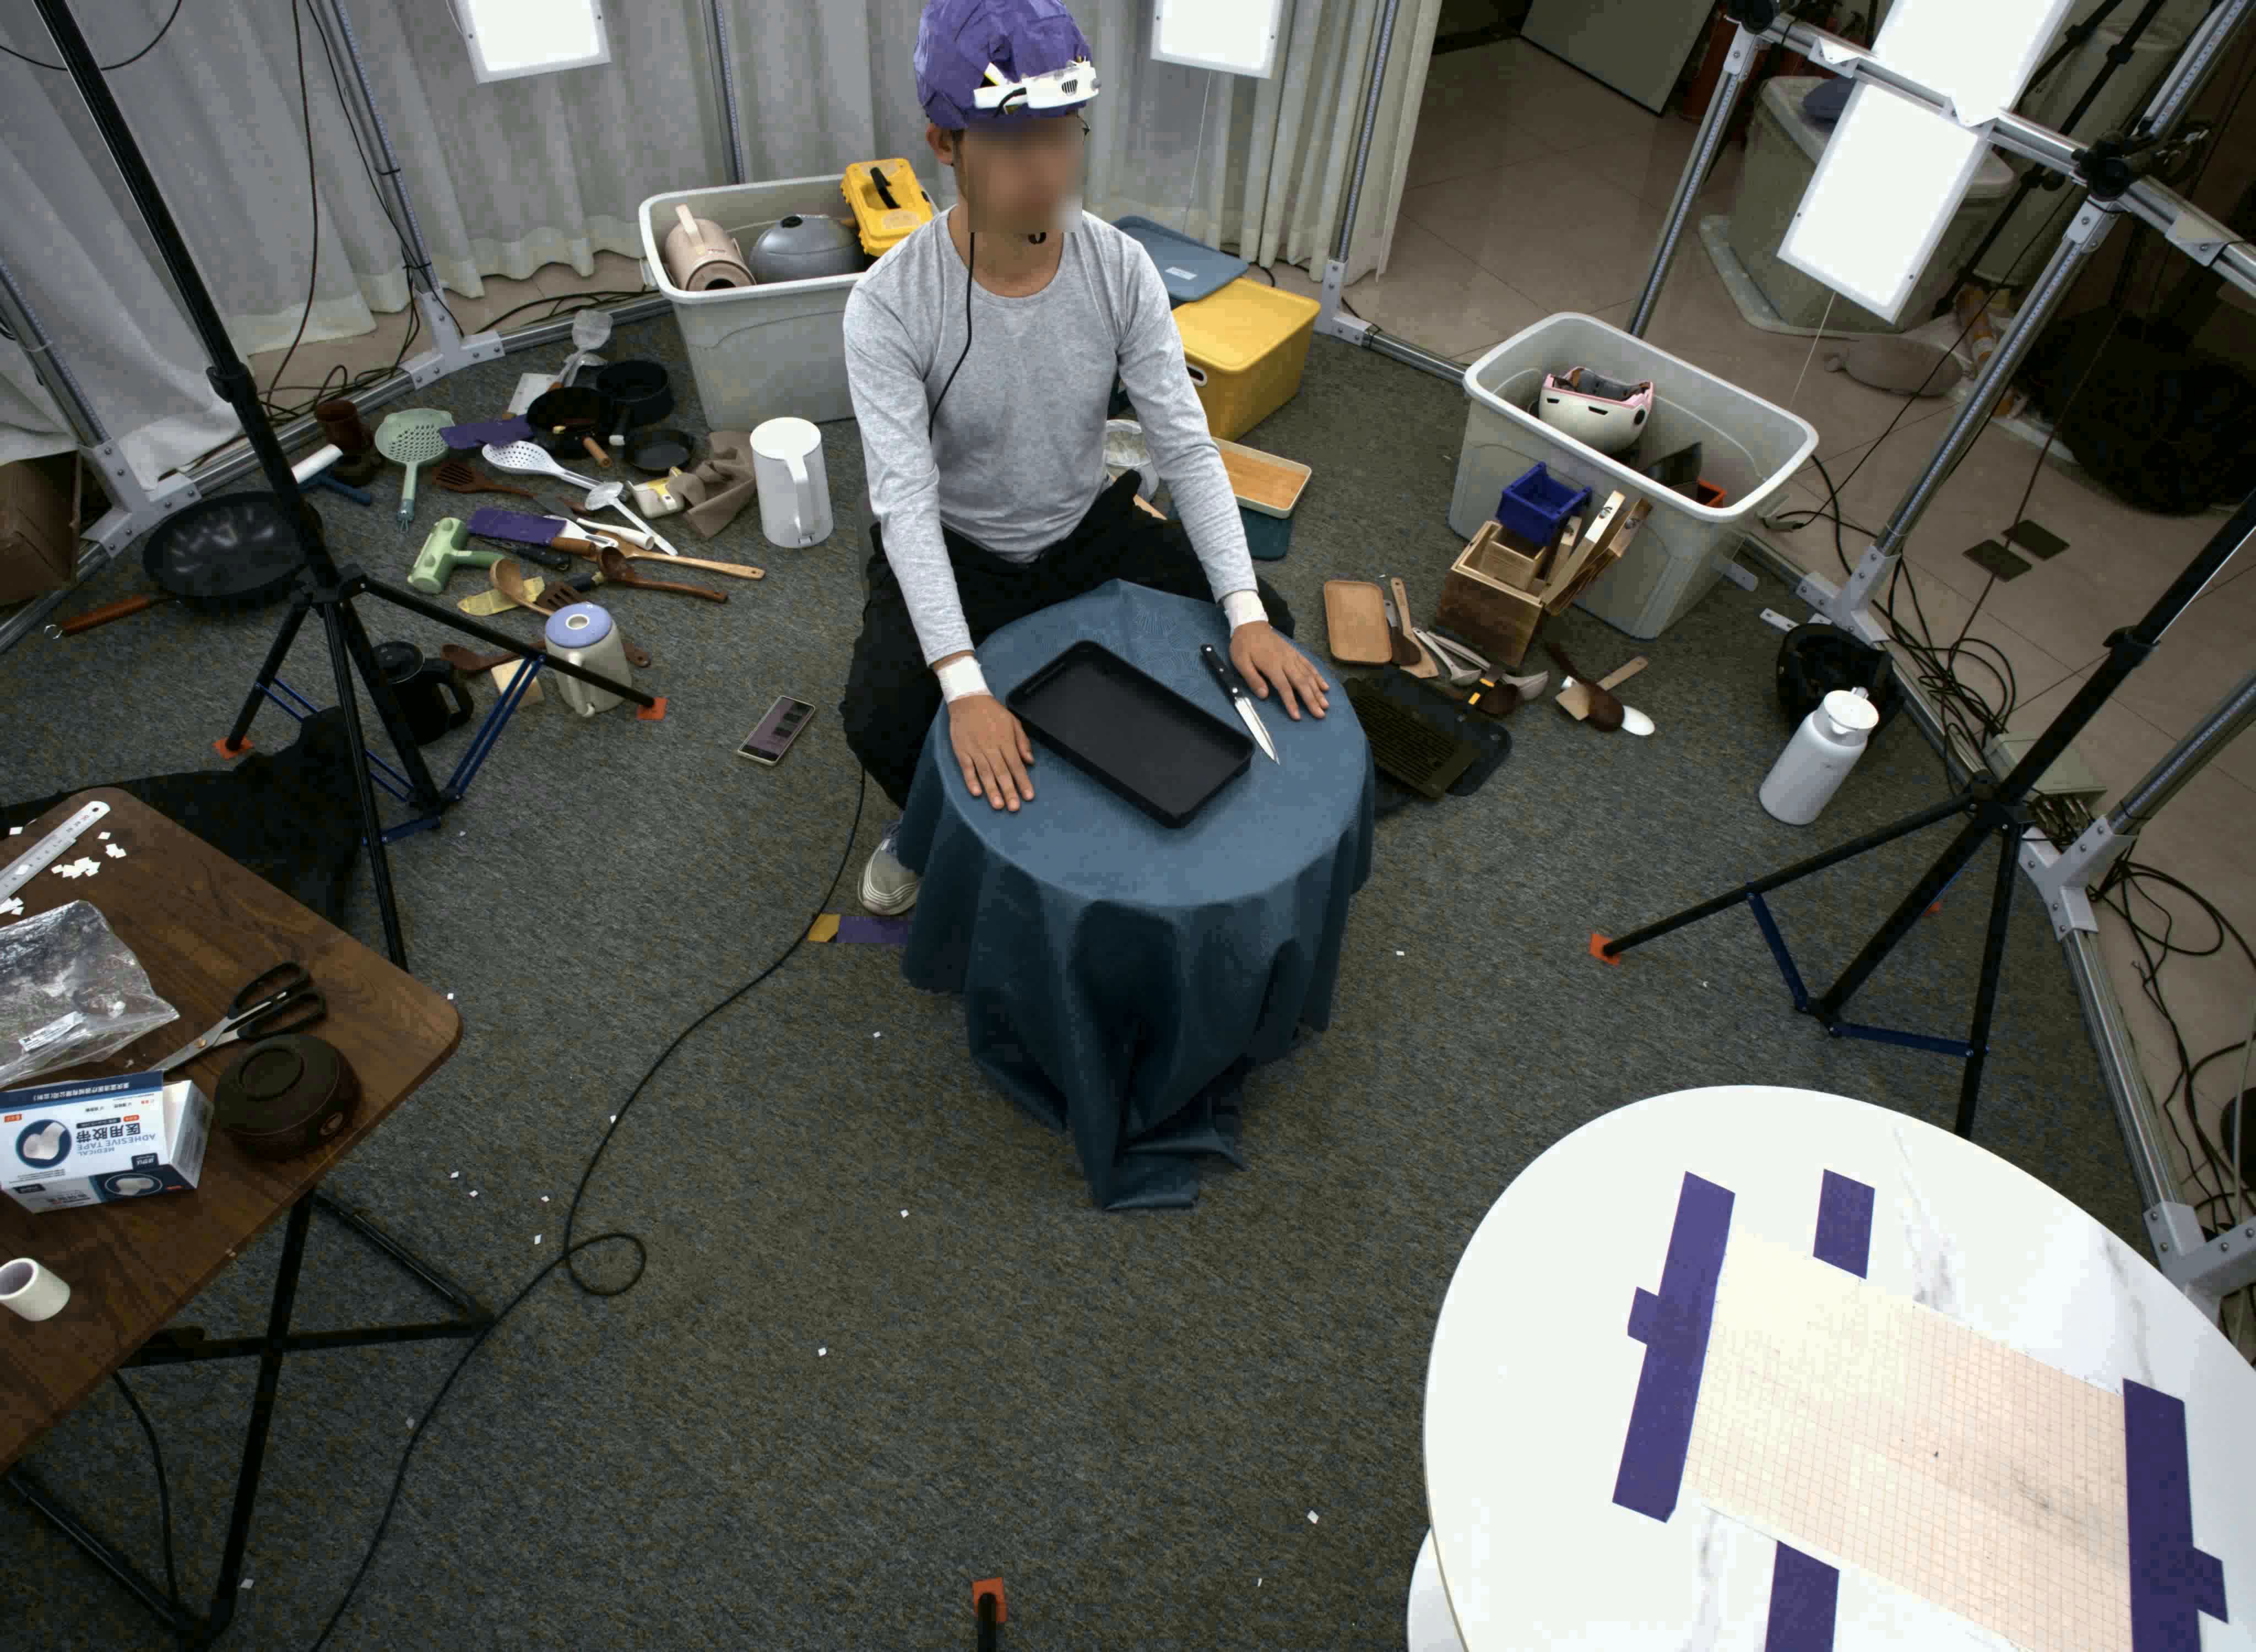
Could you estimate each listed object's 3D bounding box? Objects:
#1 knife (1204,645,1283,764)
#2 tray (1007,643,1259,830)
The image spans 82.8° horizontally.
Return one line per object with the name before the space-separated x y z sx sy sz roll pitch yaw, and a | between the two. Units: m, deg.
knife | 0.162 -0.173 1.821 0.024 0.016 0.243 -18 55 -14
tray | 0.005 -0.128 1.755 0.322 0.036 0.186 33 54 23
